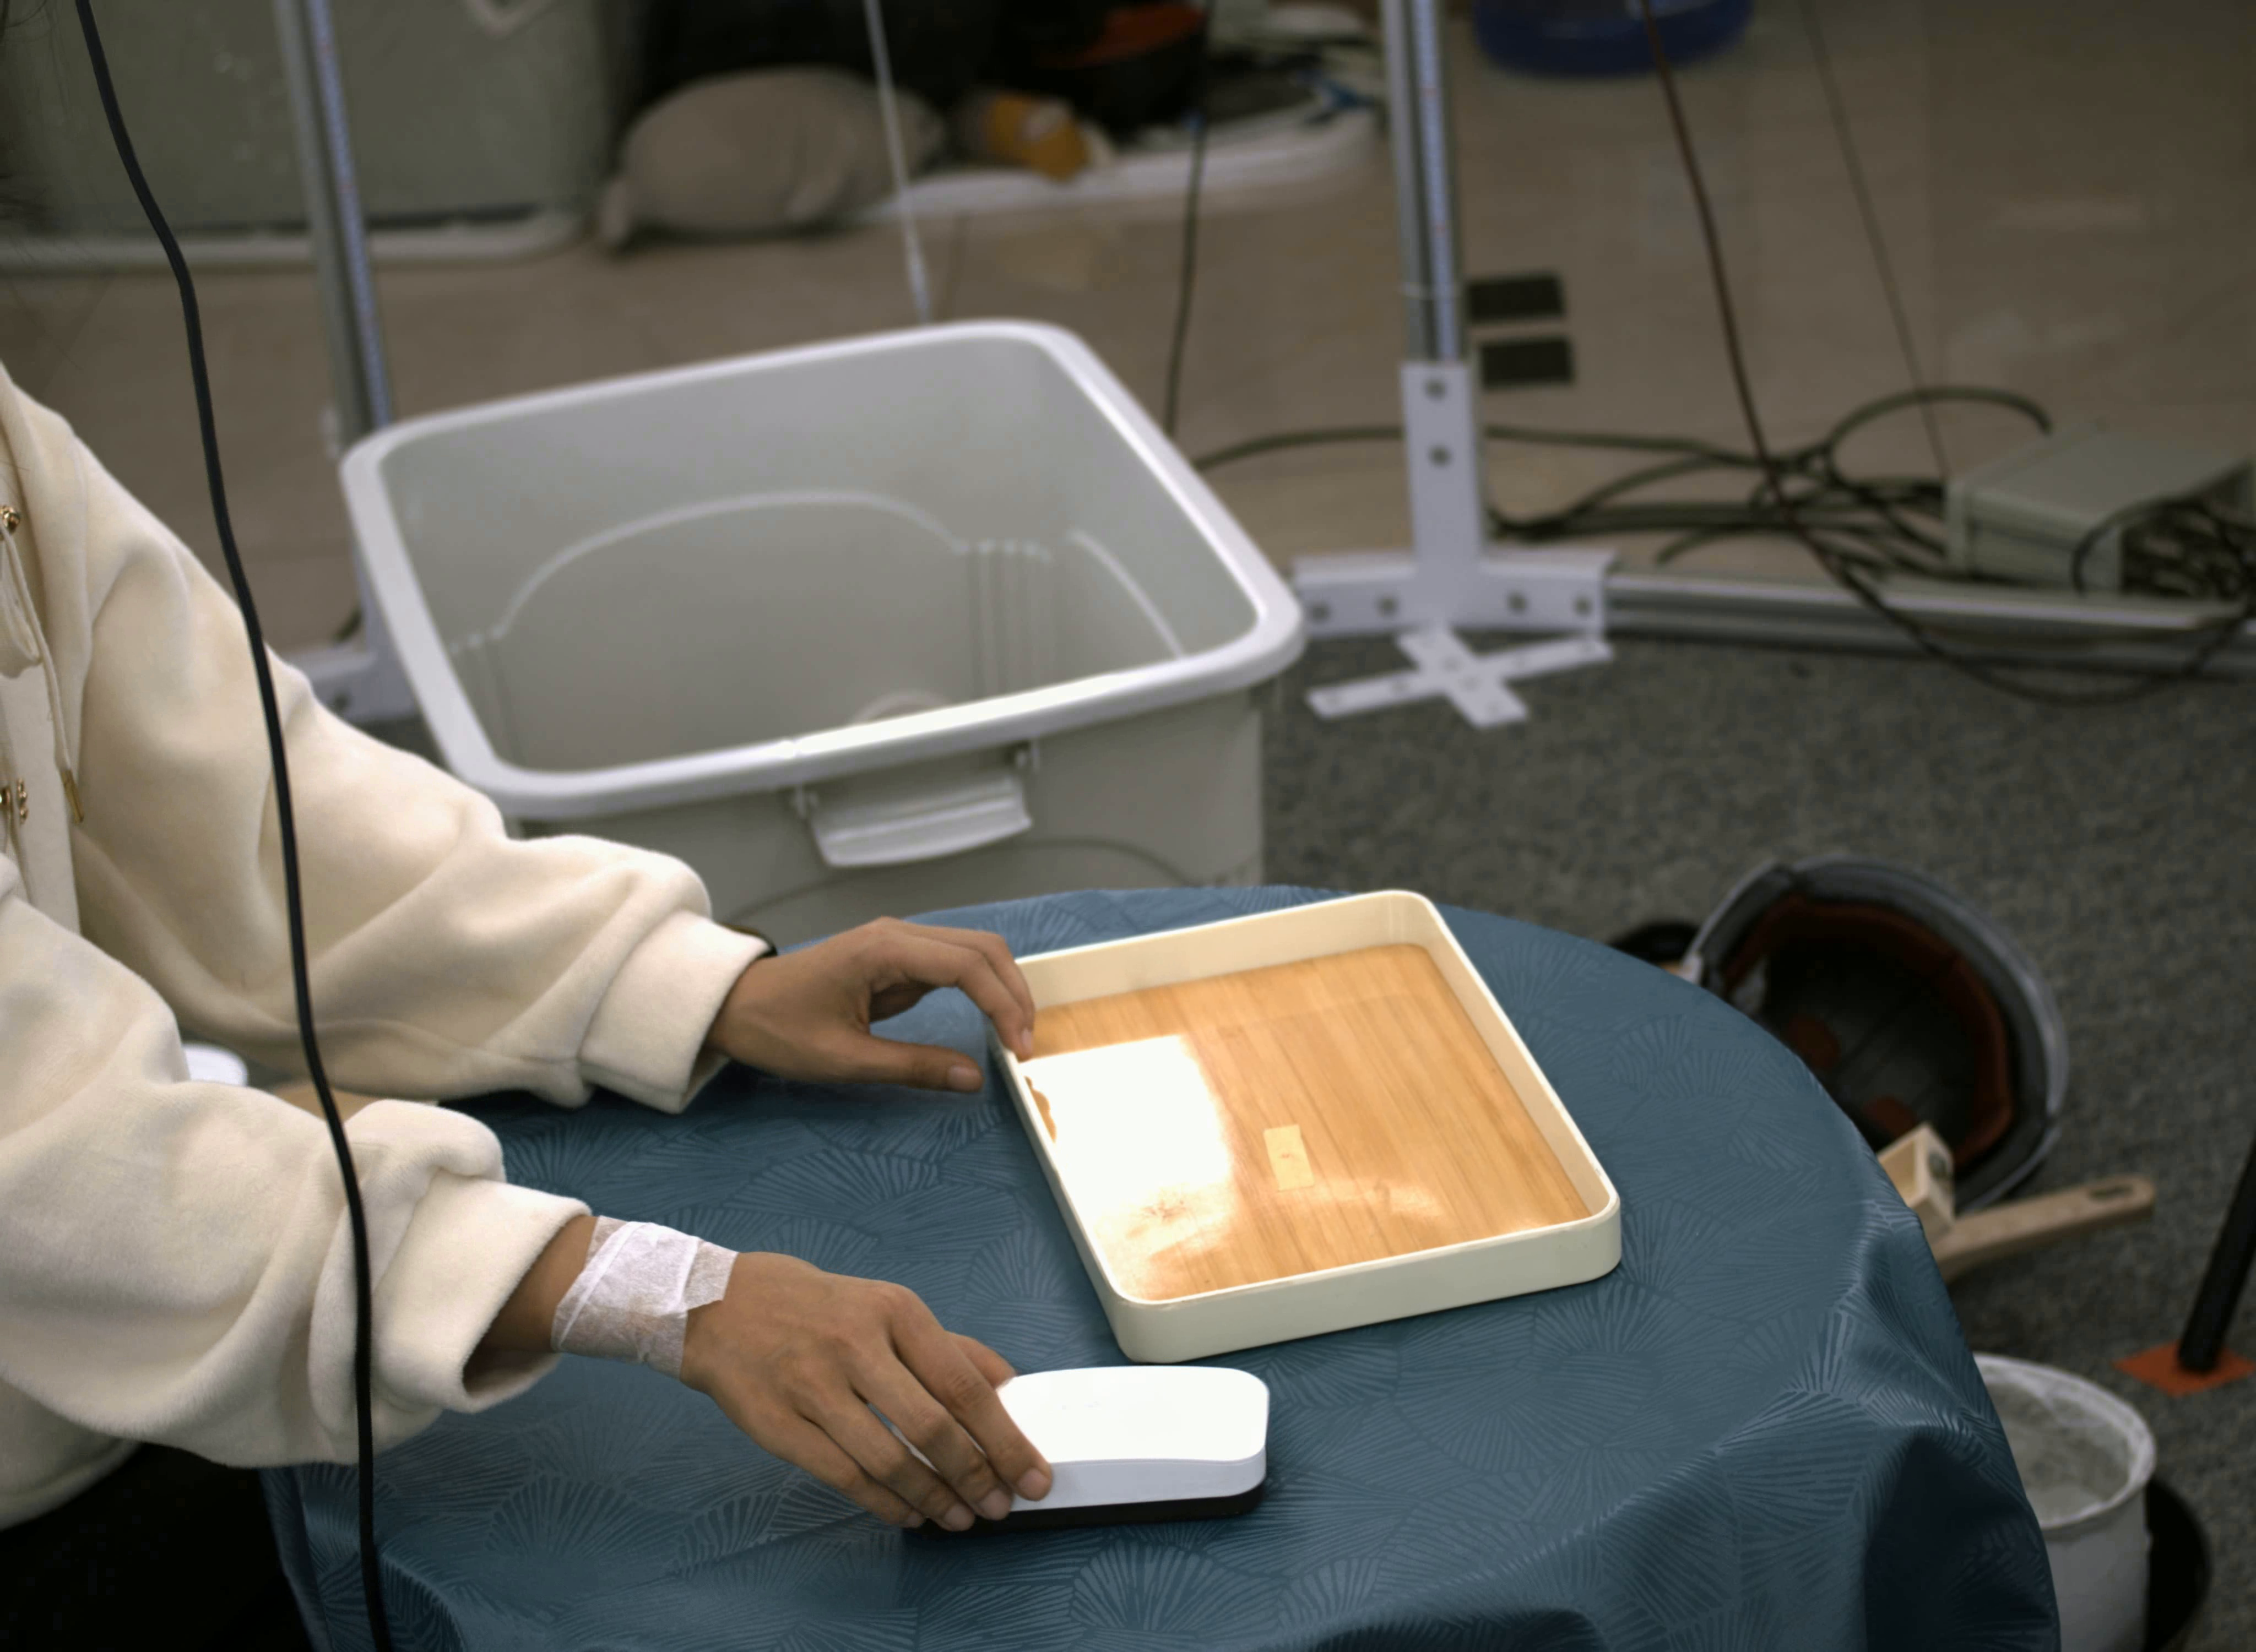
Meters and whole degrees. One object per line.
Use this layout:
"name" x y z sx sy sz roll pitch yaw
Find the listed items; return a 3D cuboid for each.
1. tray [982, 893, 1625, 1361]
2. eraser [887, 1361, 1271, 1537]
"tray" 0.061 0.110 2.163 0.191 0.028 0.296 -10 25 -8
"eraser" -0.016 0.214 1.953 0.131 0.035 0.062 -3 26 7
